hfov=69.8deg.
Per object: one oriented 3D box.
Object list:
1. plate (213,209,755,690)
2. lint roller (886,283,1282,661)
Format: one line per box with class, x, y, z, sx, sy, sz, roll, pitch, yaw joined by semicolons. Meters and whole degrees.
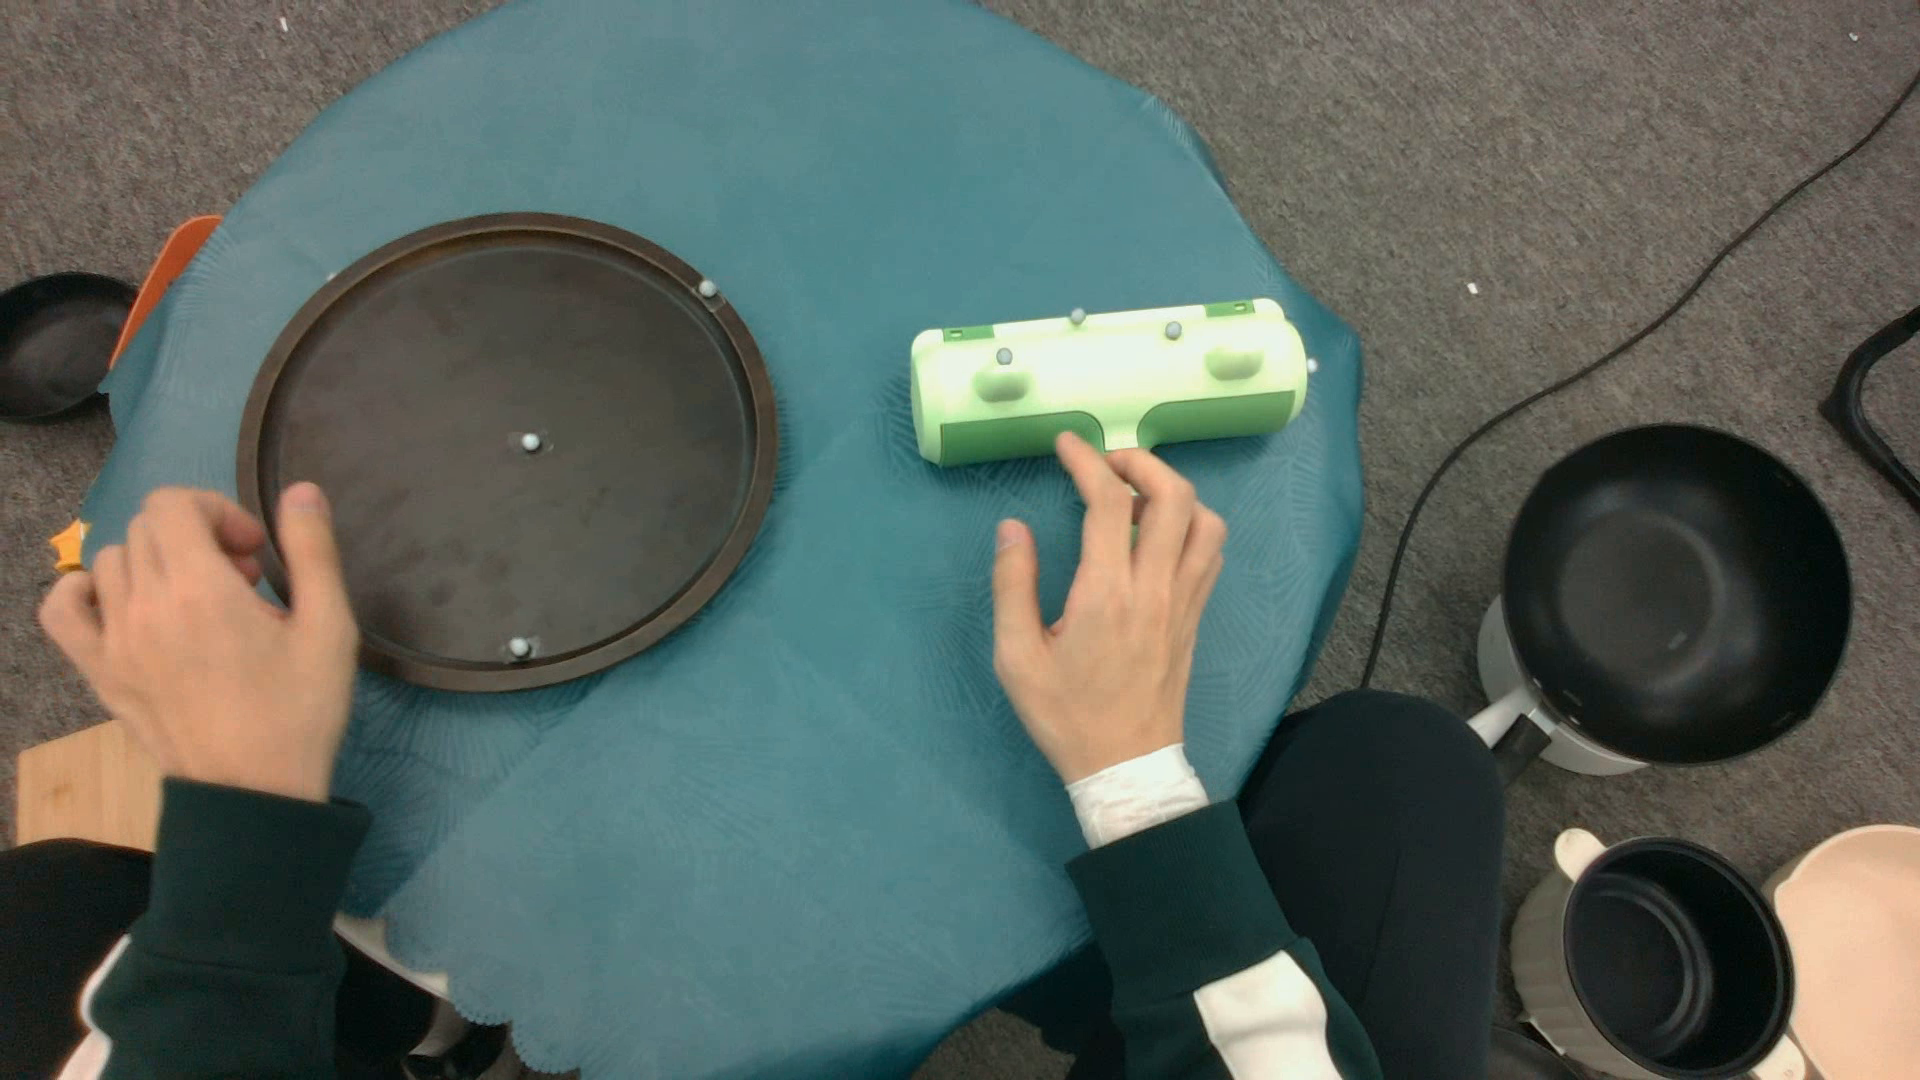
plate;-0.227;-0.049;0.671;0.255;0.029;0.255;2;68;-6
lint roller;0.073;-0.038;0.666;0.199;0.082;0.184;-7;67;-9
